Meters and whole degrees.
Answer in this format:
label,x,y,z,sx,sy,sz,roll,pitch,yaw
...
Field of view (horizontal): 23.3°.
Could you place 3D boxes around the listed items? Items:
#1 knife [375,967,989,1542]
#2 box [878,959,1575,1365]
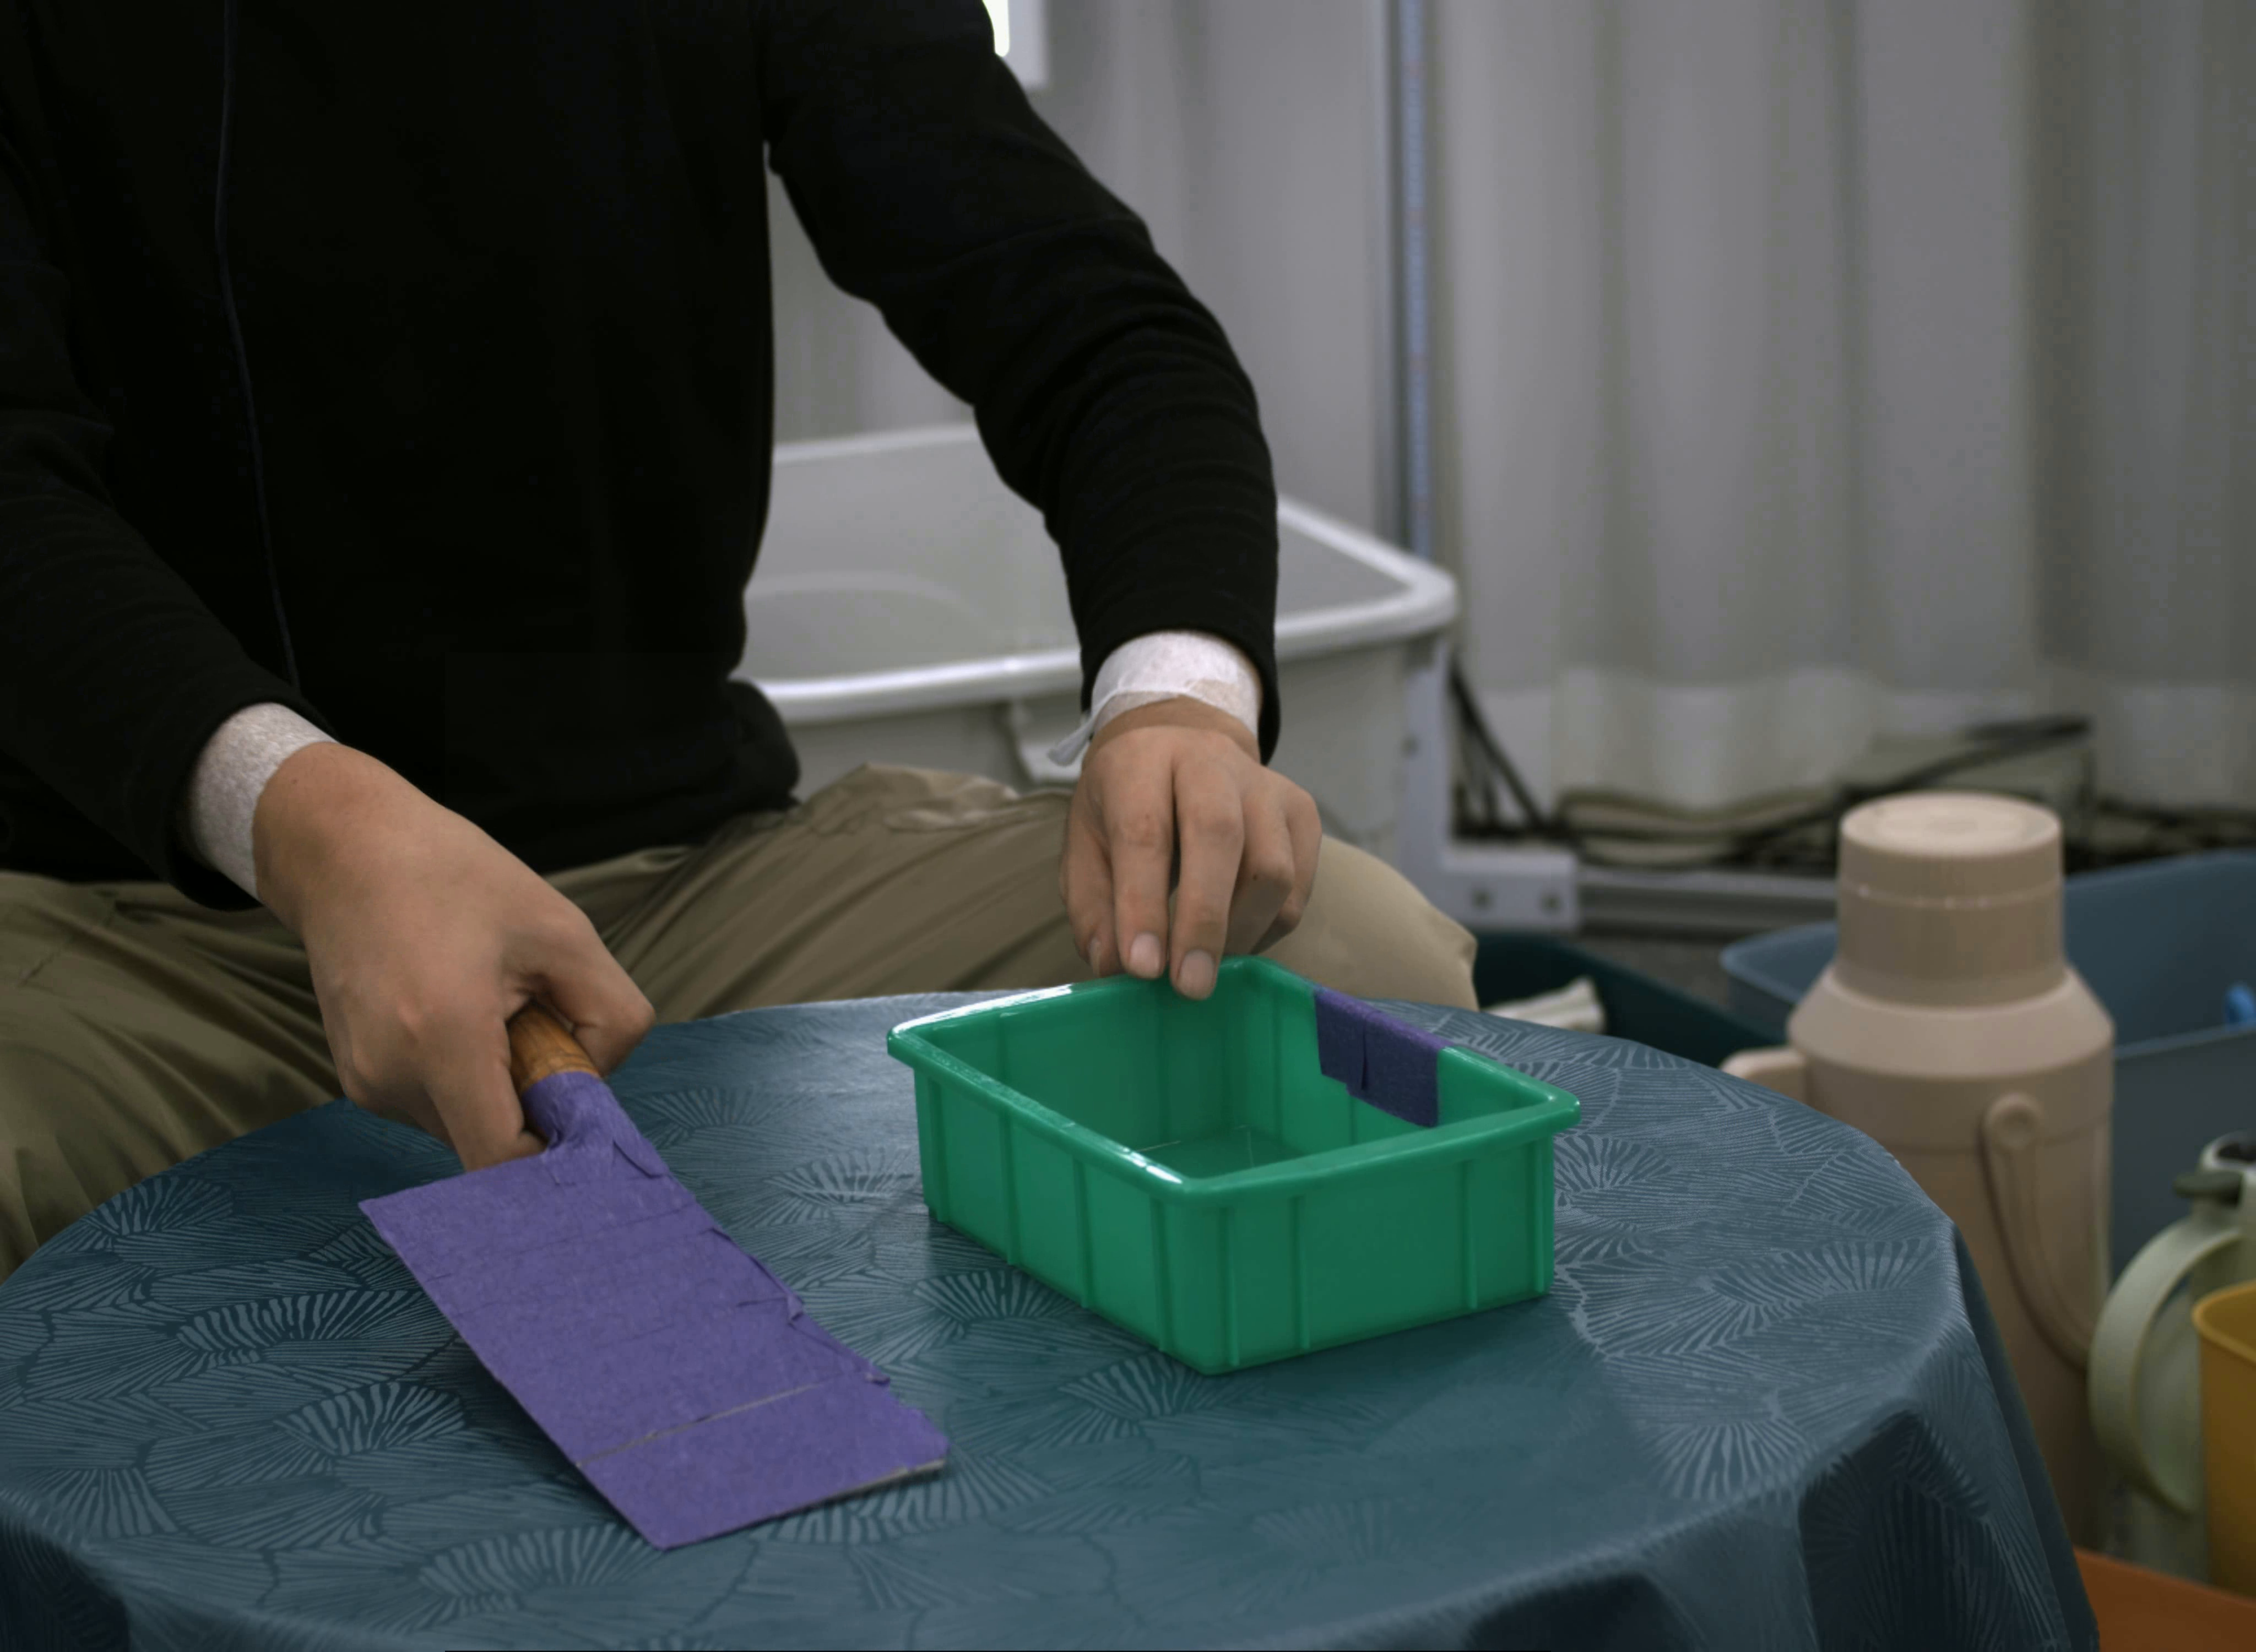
label,x,y,z,sx,sy,sz,roll,pitch,yaw
knife,-0.159,0.119,1.585,0.103,0.032,0.318,-13,27,-28
box,0.028,0.099,1.646,0.138,0.065,0.212,-9,14,-28
